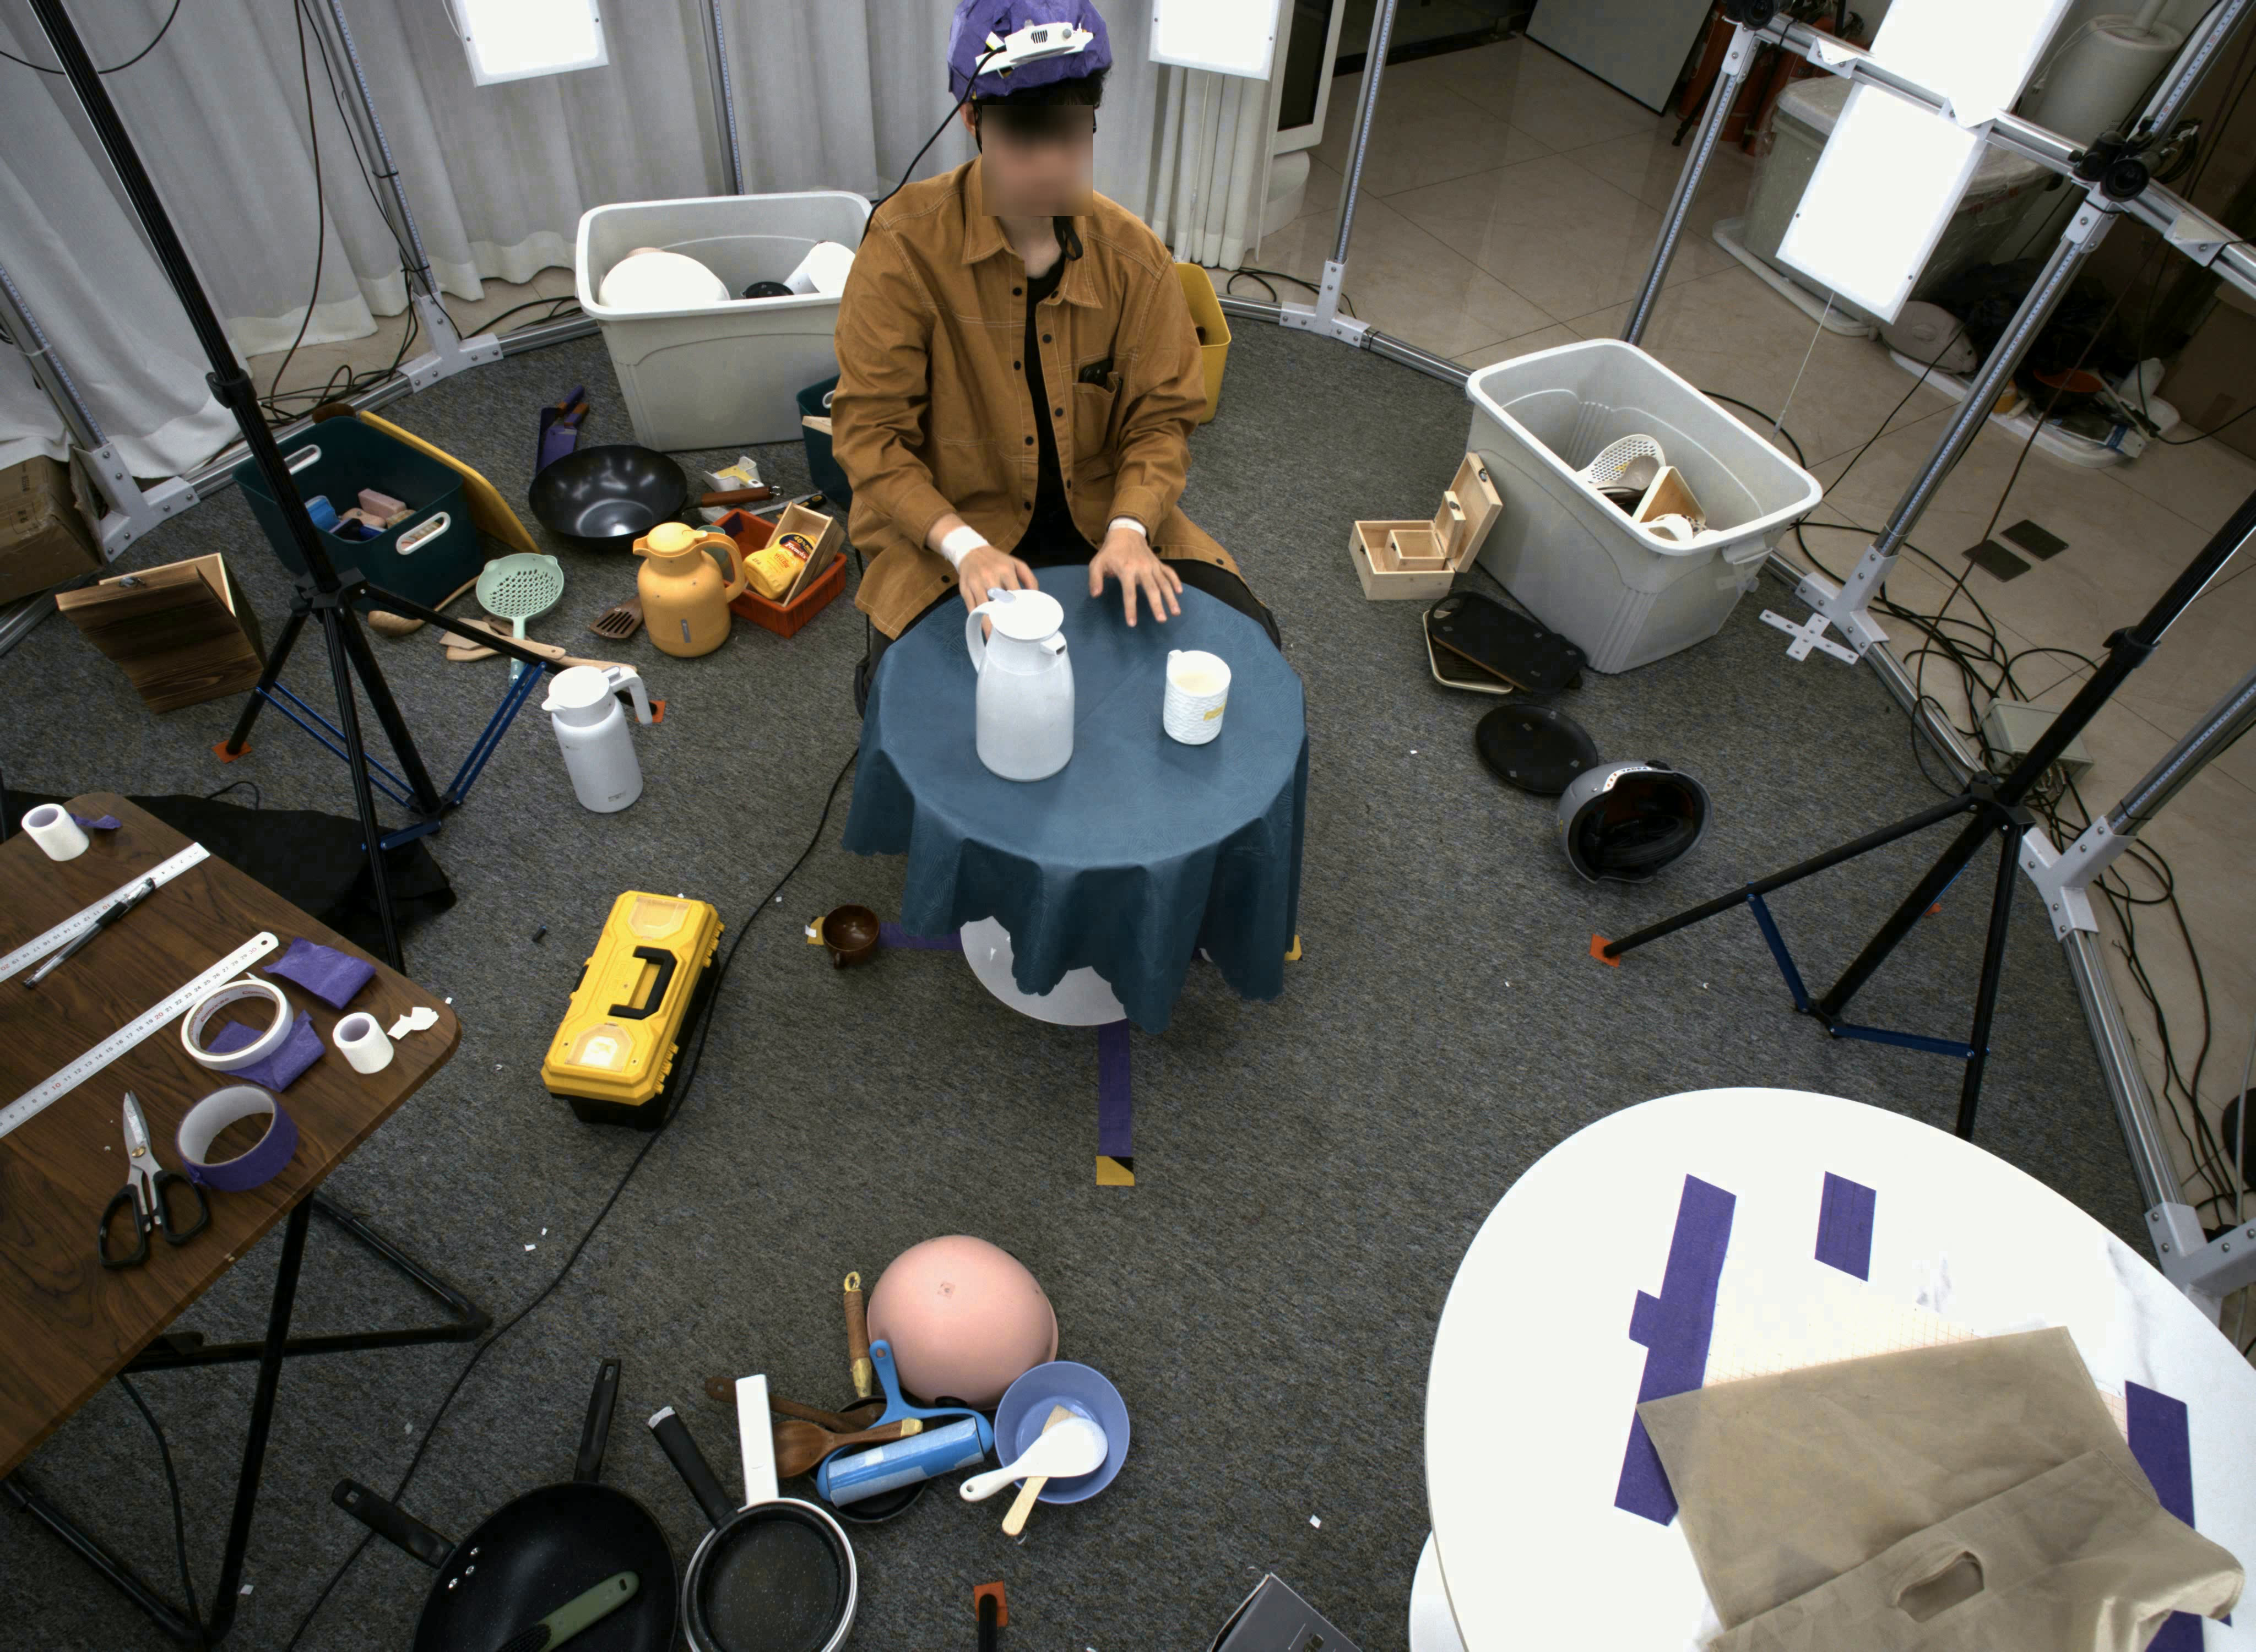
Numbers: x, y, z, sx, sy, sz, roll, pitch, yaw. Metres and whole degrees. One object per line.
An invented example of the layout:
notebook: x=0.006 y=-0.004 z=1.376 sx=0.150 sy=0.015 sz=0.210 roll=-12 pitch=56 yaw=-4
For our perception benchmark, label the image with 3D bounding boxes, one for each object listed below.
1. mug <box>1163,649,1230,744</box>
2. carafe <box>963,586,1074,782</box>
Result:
mug: x=0.085 y=-0.187 z=1.767 sx=0.085 sy=0.099 sz=0.121 roll=-19 pitch=55 yaw=-19
carafe: x=-0.149 y=-0.196 z=1.670 sx=0.170 sy=0.242 sz=0.134 roll=36 pitch=57 yaw=25
